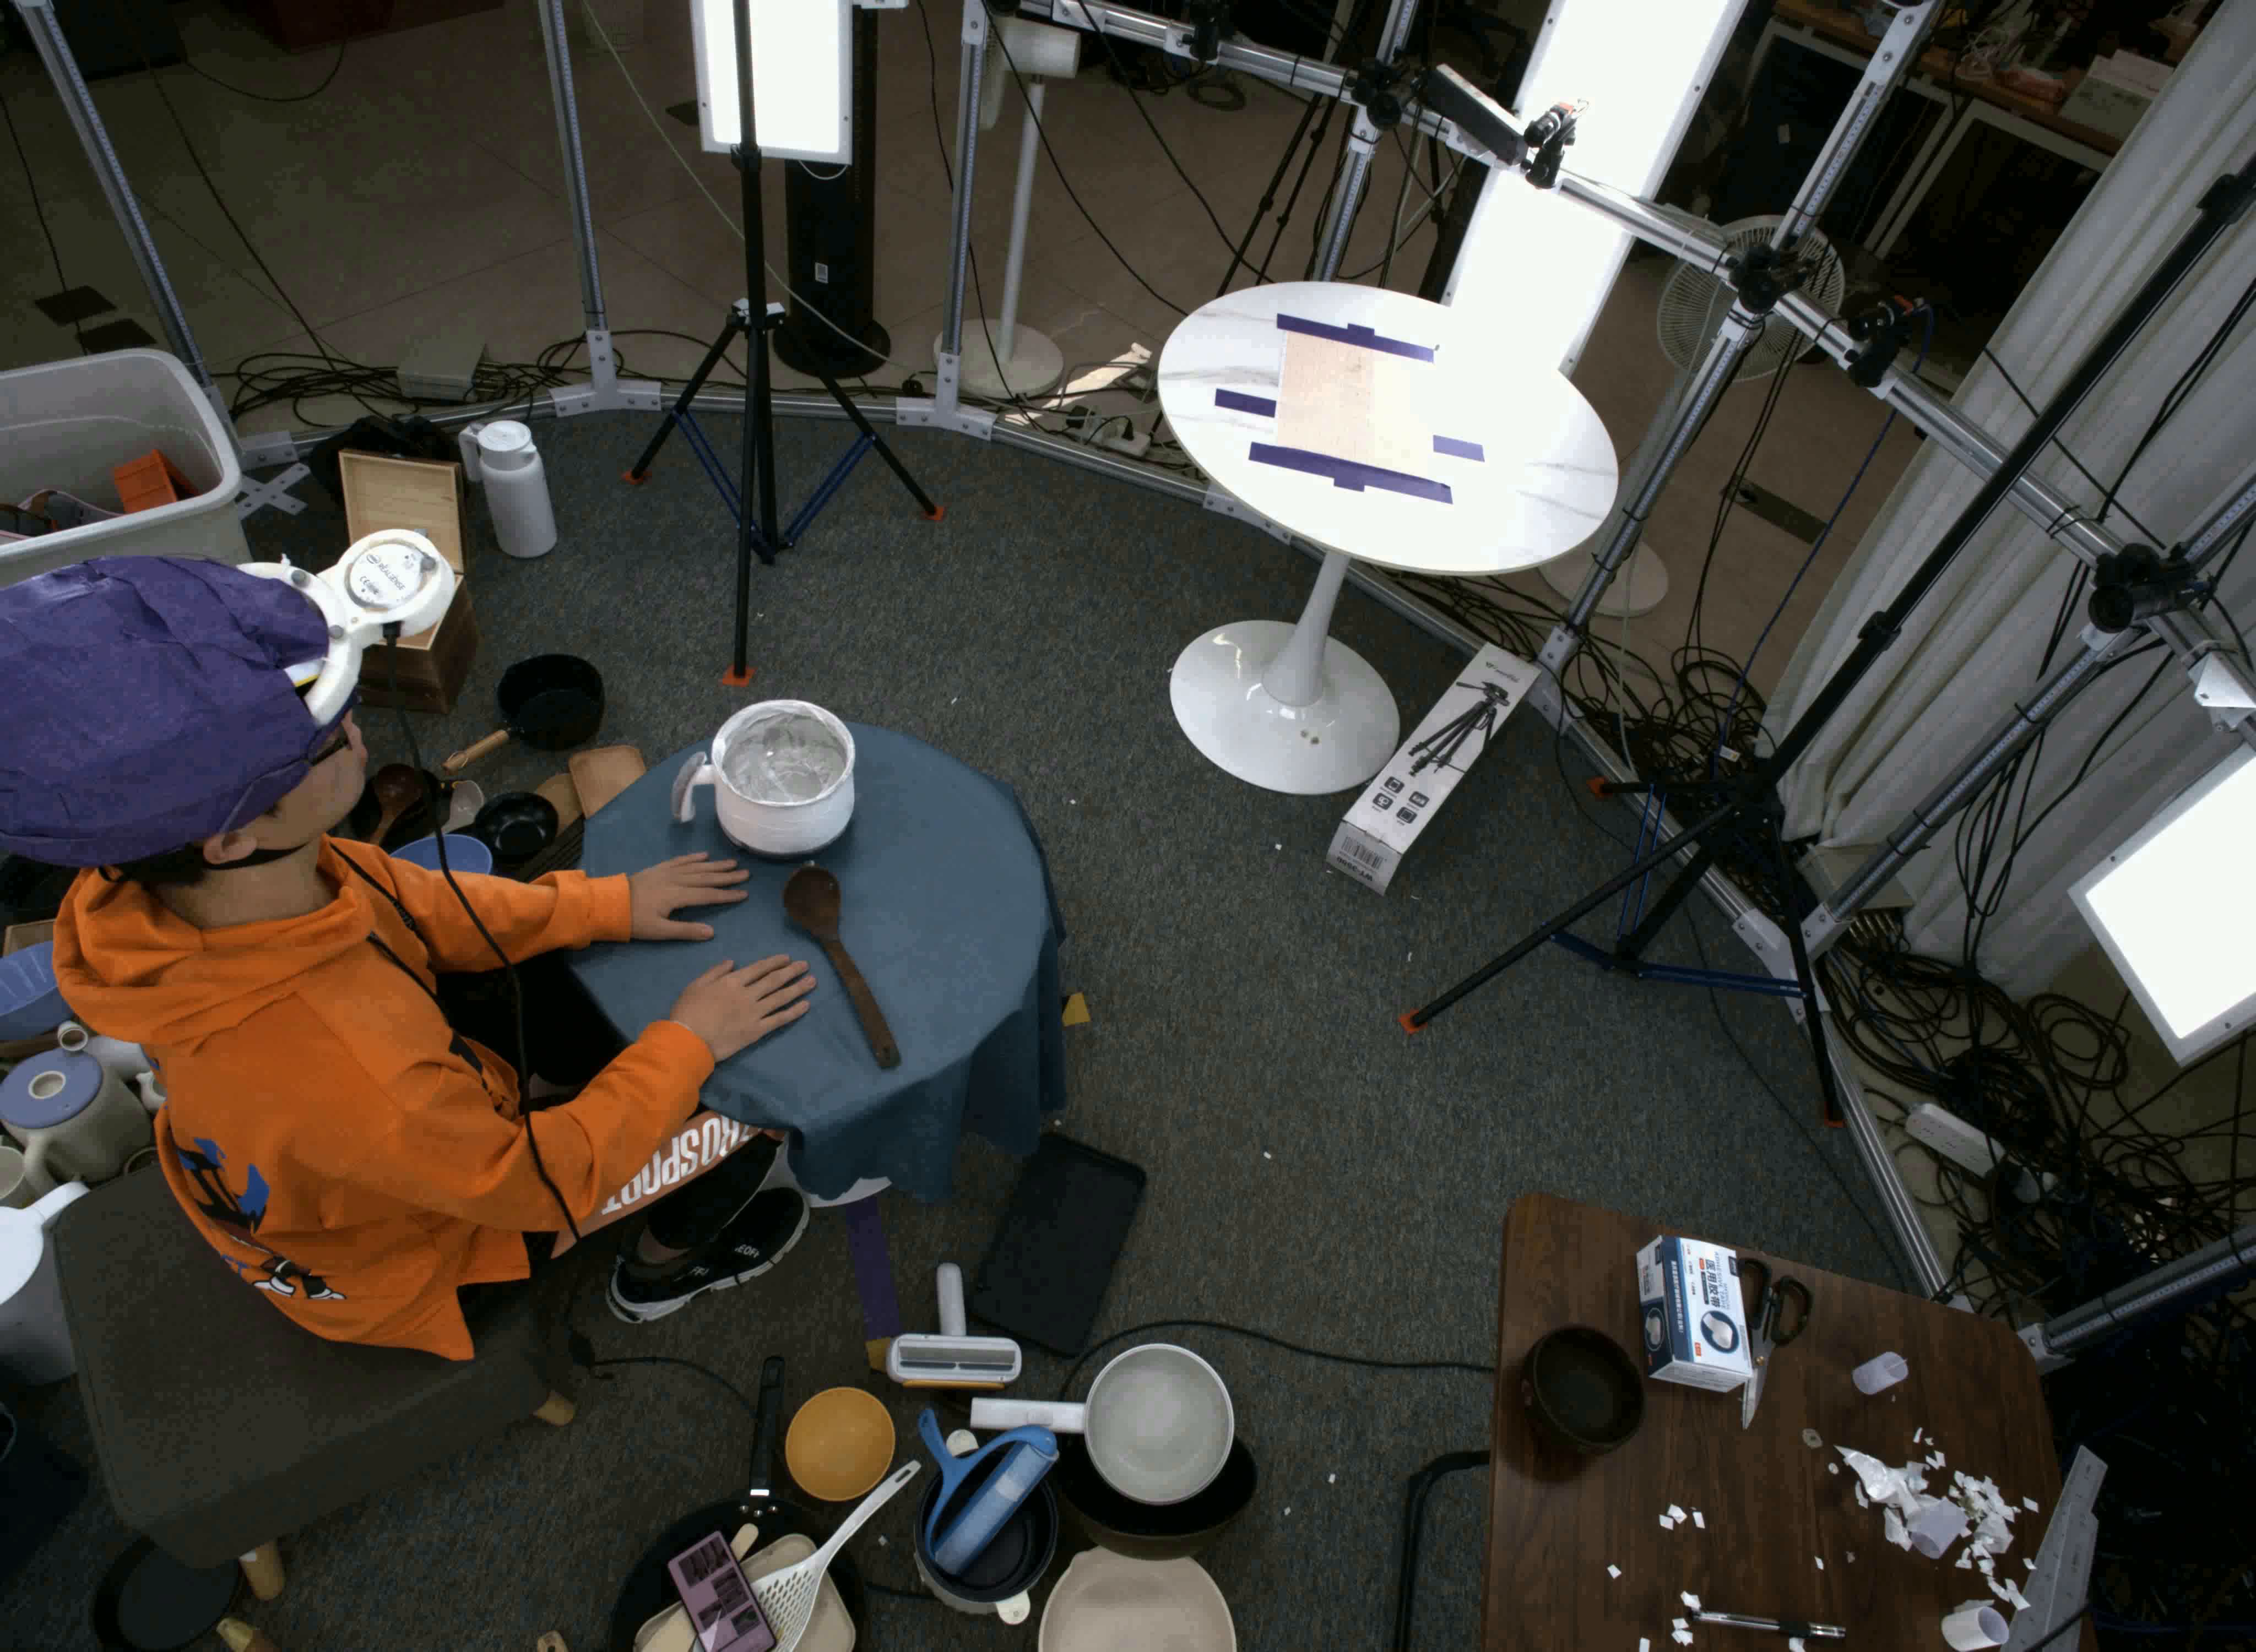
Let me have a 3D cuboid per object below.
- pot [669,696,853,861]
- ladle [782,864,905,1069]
[{"bbox_3d":[-0.470,-0.054,1.653,0.235,0.139,0.174,-6,54,-19],"label":"pot"},{"bbox_3d":[-0.339,0.163,1.569,0.076,0.073,0.267,-22,61,-24],"label":"ladle"}]
